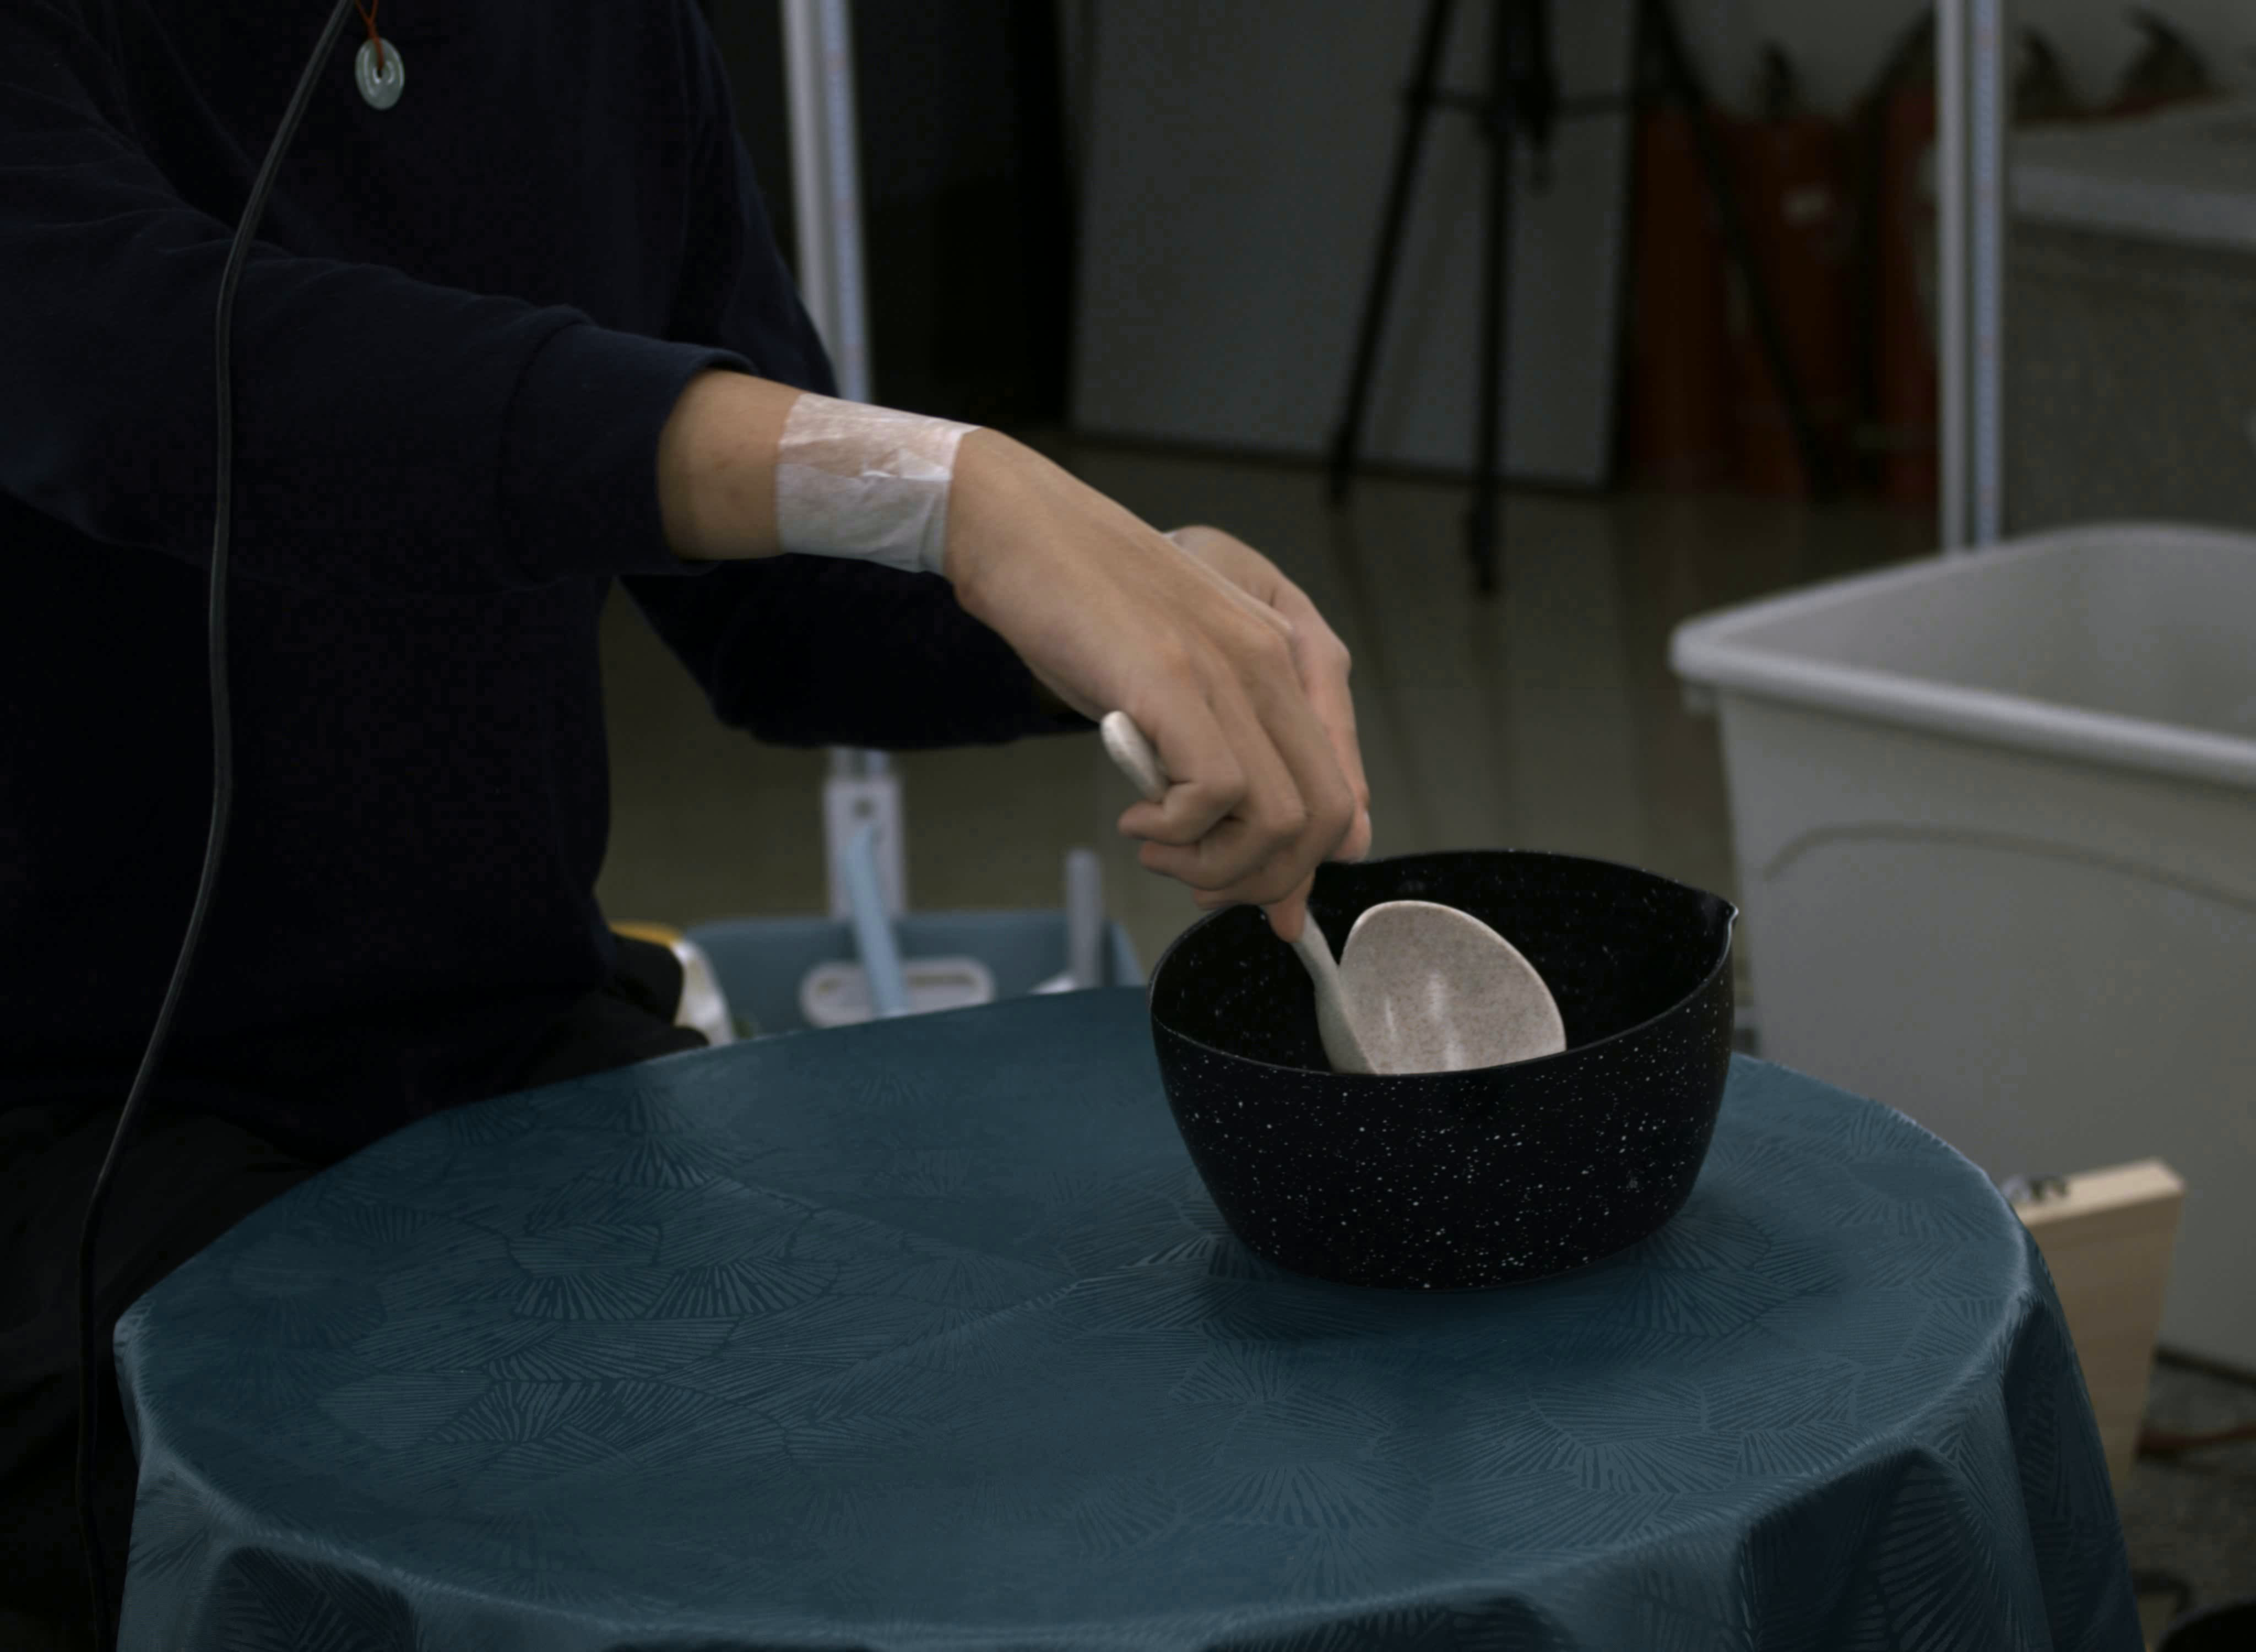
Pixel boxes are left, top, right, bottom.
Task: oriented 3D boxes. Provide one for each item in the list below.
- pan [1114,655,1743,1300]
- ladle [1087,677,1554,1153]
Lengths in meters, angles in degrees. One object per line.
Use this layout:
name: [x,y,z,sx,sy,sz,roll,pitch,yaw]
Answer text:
pan: [0.079,0.044,1.774,0.204,0.109,0.346,-13,22,-12]
ladle: [0.061,0.014,1.553,0.069,0.090,0.272,-15,-29,12]
